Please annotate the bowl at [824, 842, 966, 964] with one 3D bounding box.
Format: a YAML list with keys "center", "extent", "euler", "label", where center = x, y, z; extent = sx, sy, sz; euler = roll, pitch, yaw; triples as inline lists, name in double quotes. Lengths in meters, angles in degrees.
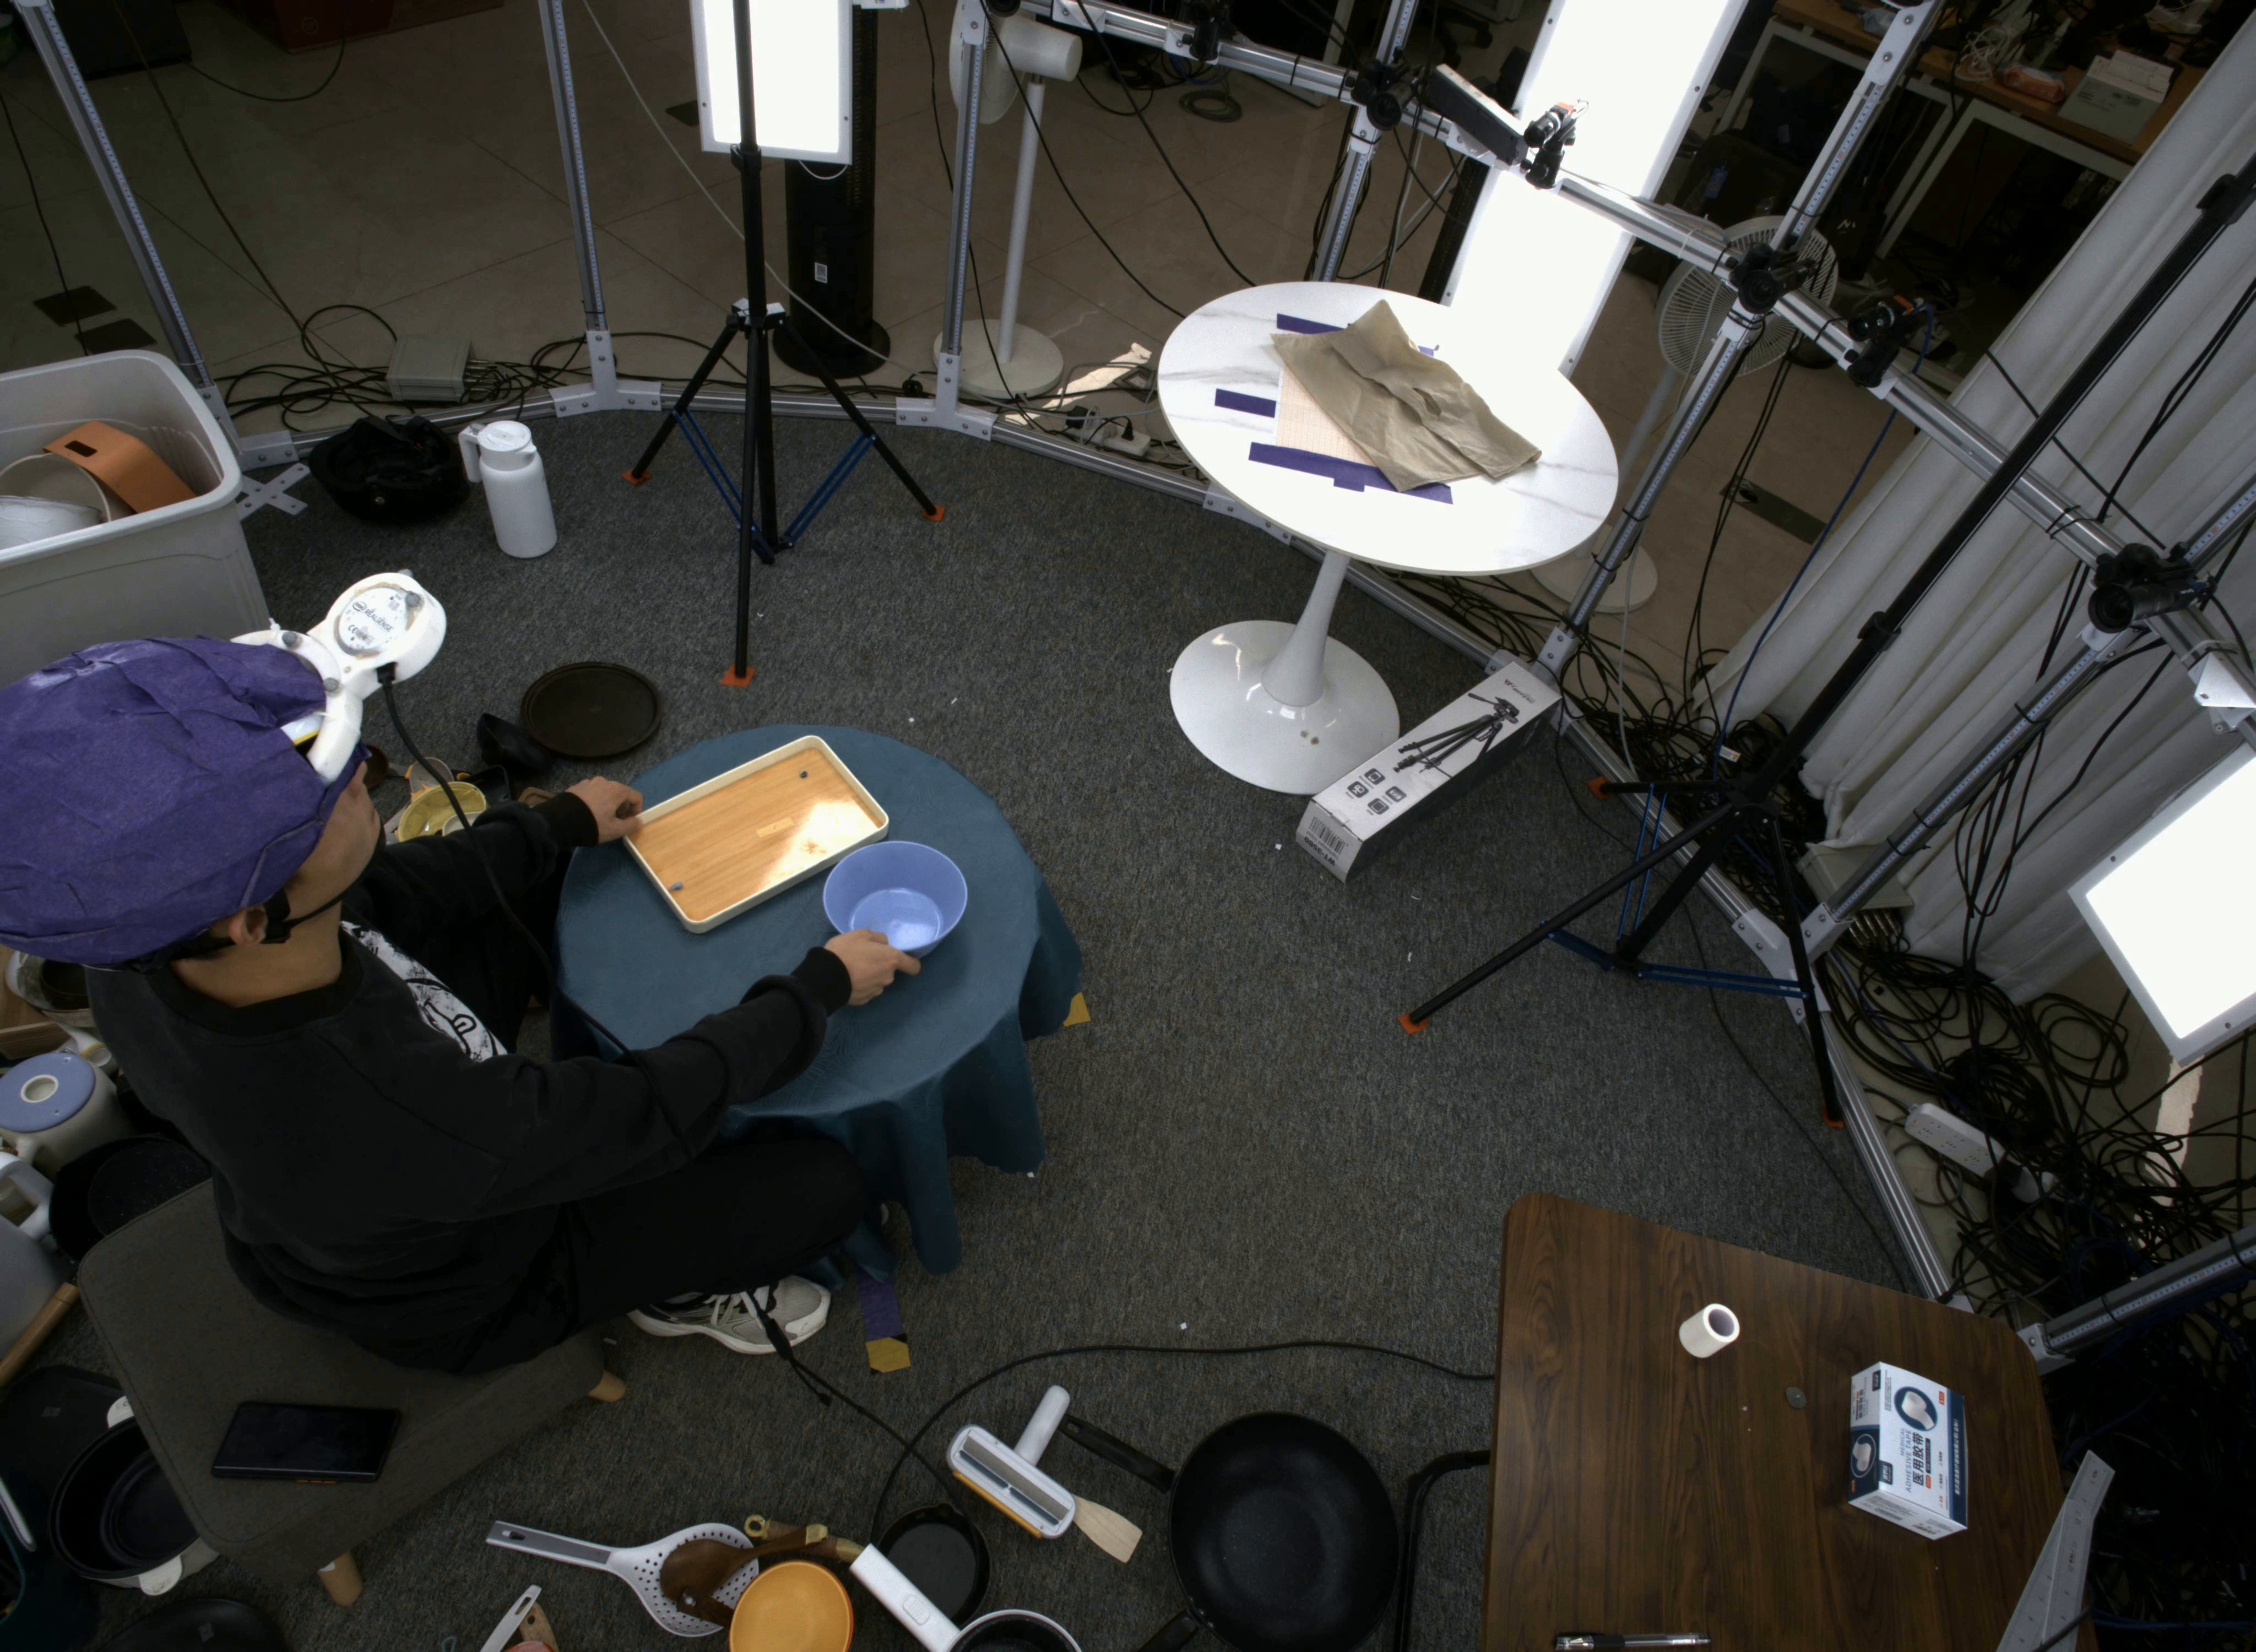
- center: [-0.292, 0.106, 1.633]
  extent: [0.175, 0.072, 0.172]
  euler: [7, 47, -6]
  label: "bowl"

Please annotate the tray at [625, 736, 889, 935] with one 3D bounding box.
- center: [-0.484, 0.004, 1.693]
  extent: [0.301, 0.028, 0.187]
  euler: [-31, 66, -32]
  label: "tray"
